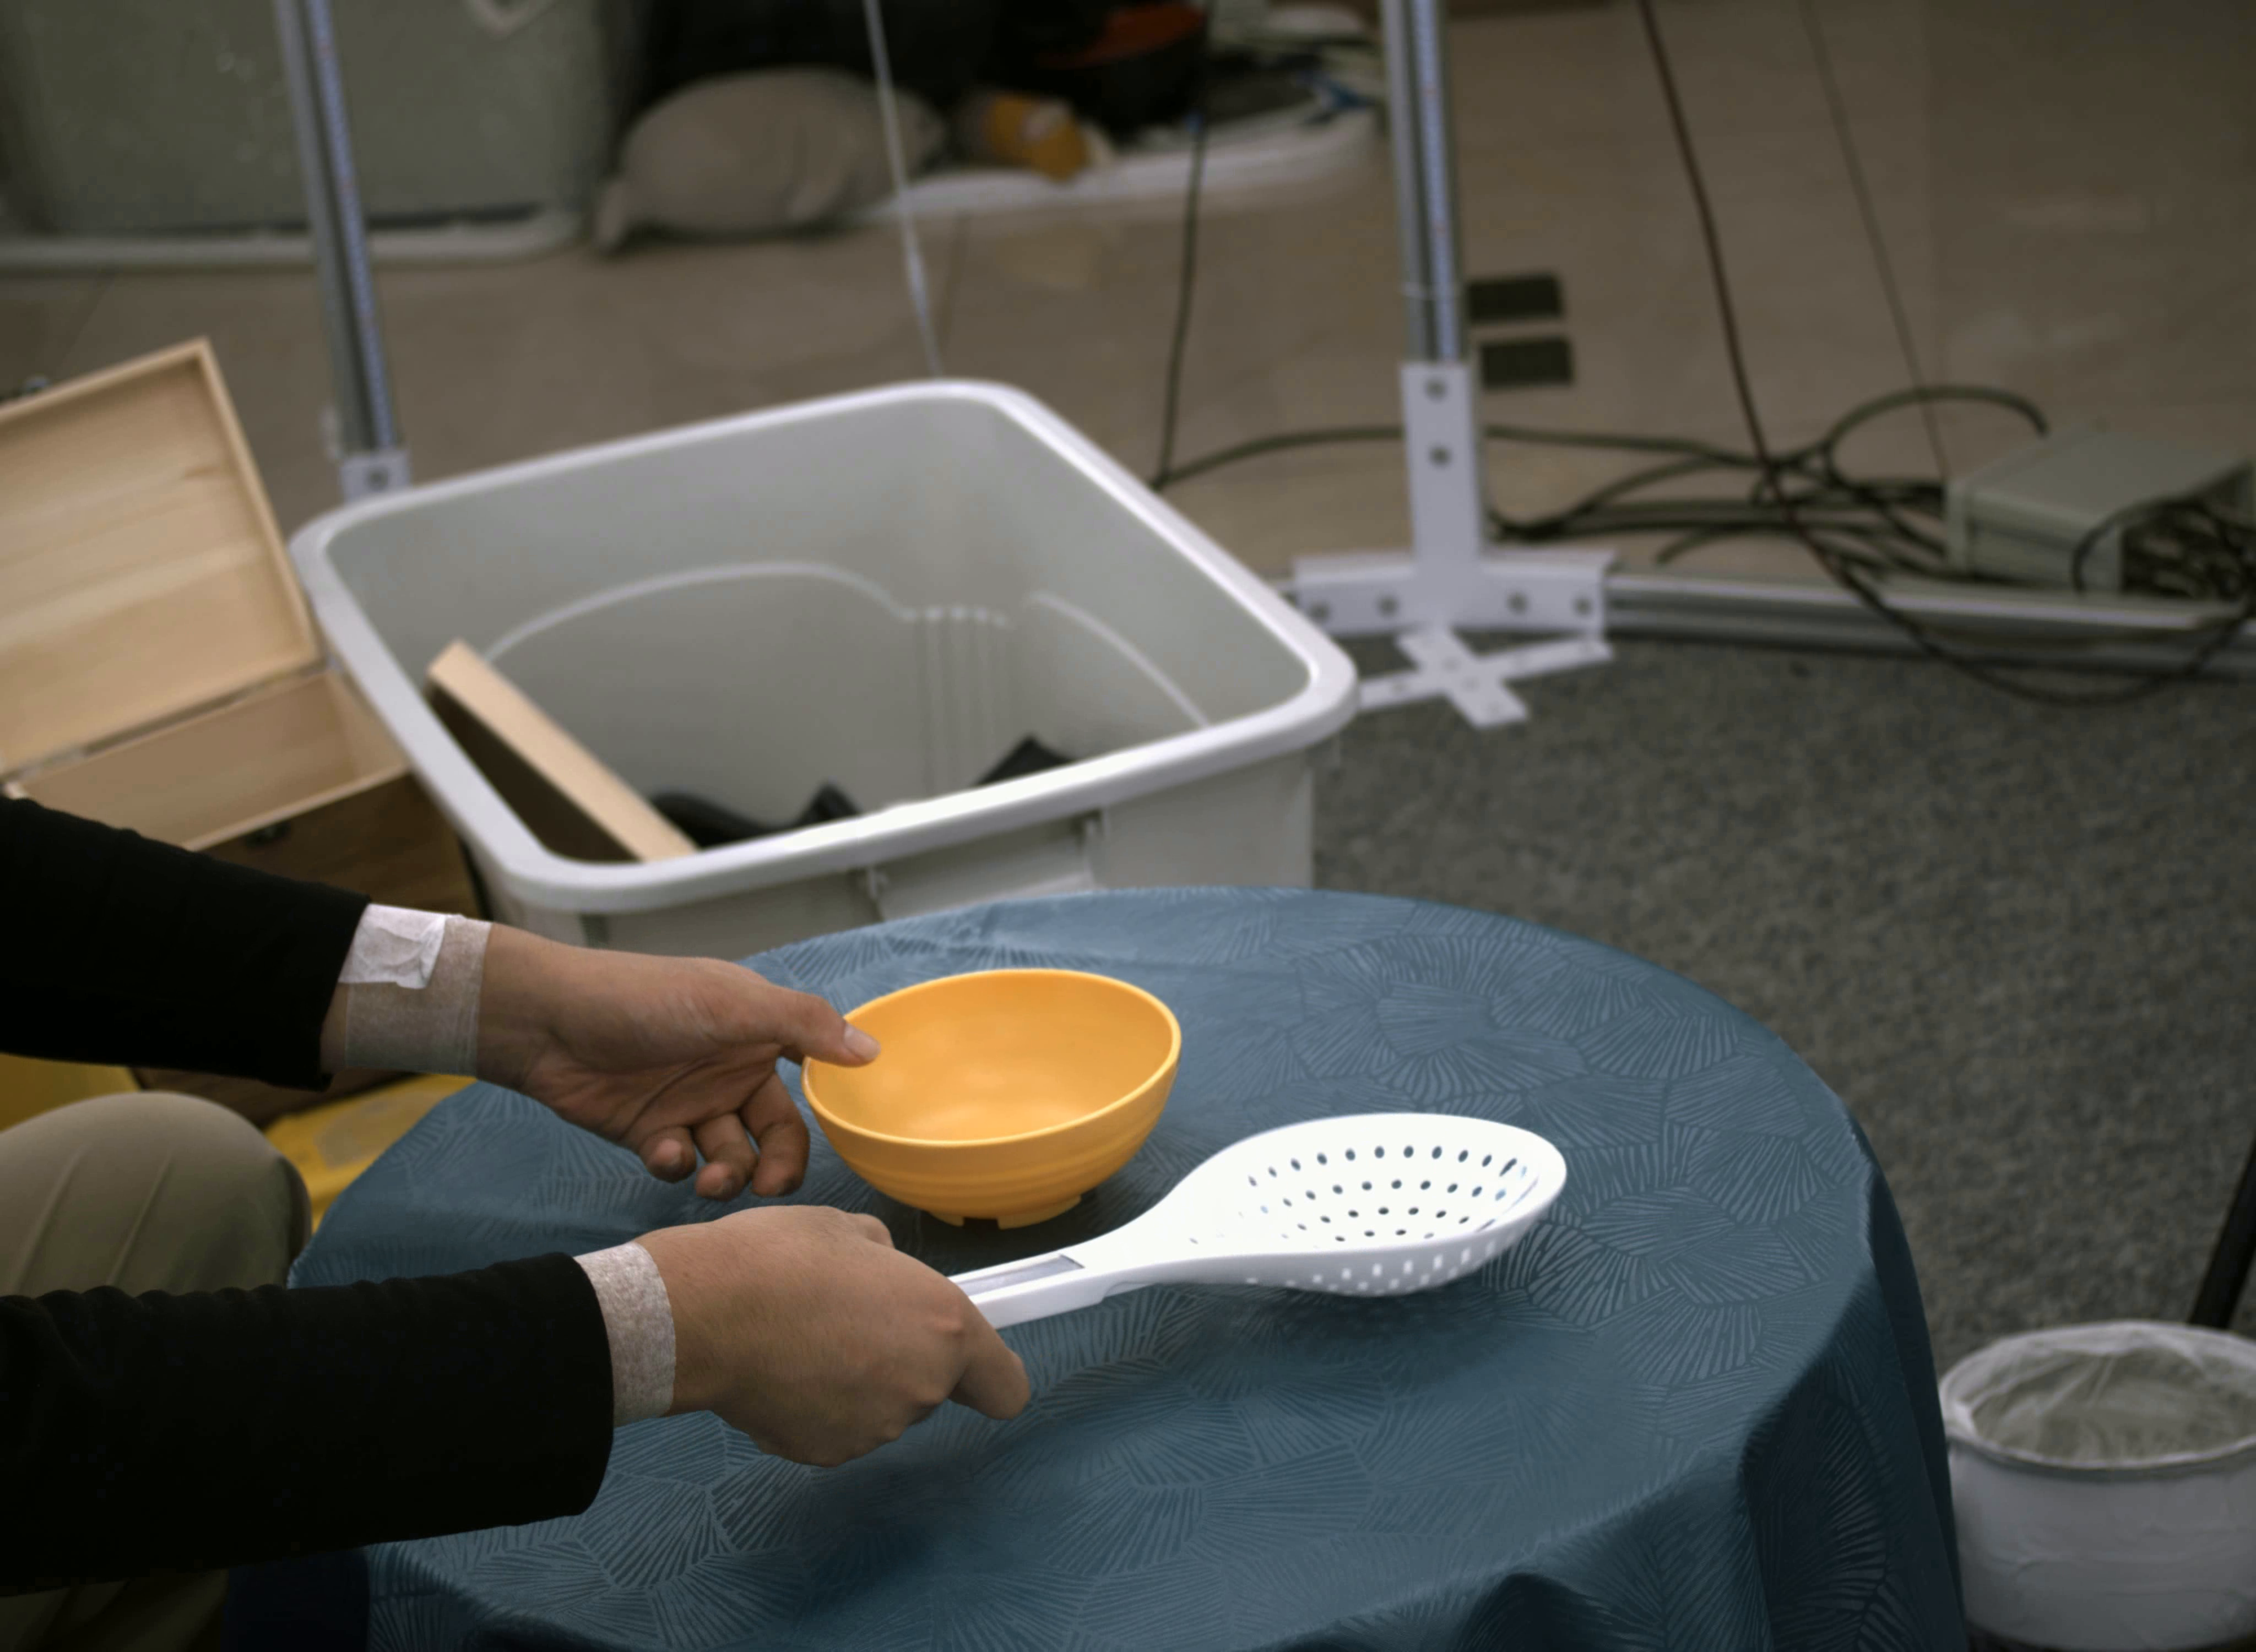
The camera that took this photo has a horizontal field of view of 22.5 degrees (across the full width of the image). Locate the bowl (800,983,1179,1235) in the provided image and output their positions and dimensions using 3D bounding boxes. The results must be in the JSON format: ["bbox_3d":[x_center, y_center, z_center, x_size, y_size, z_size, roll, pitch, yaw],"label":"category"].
[{"bbox_3d":[-0.050,0.114,2.147,0.145,0.061,0.143,-5,23,2],"label":"bowl"}]

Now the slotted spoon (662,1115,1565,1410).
[{"bbox_3d":[-0.002,0.155,2.009,0.349,0.046,0.135,-8,13,-27],"label":"slotted spoon"}]
